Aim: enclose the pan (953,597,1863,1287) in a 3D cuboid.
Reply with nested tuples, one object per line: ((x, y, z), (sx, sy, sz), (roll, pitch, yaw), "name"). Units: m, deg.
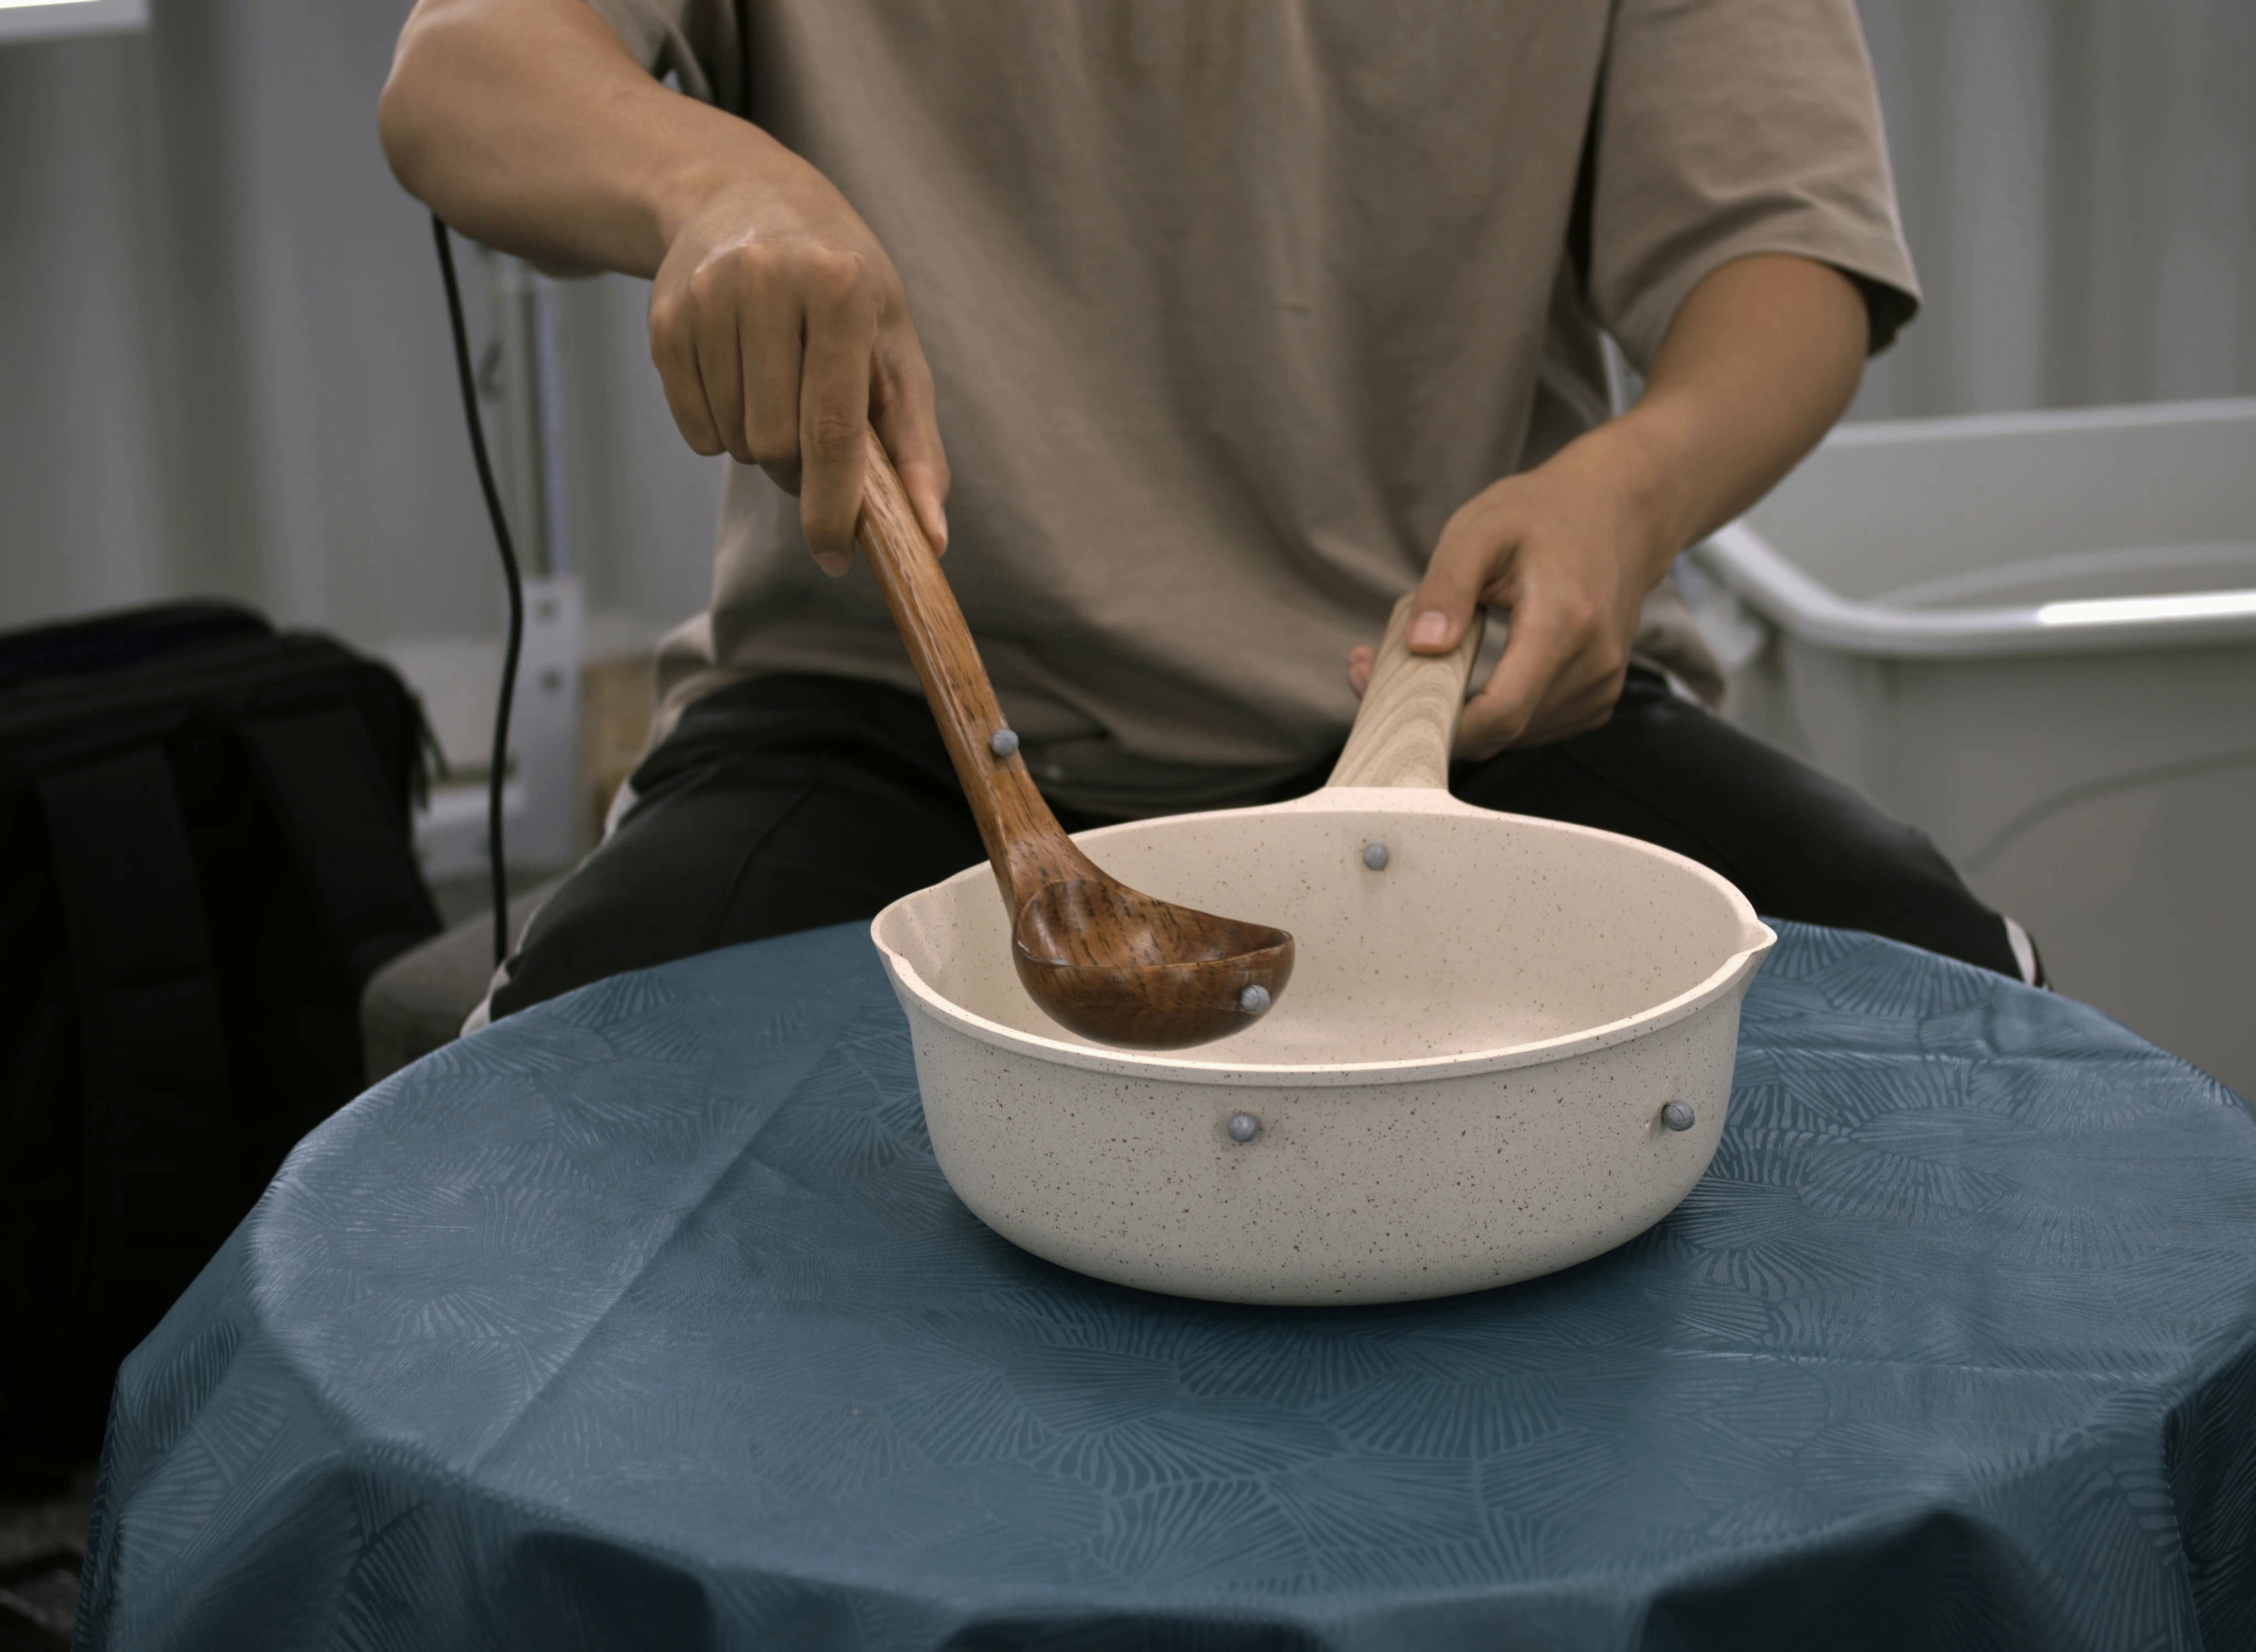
((0.095, 0.031, 1.620), (0.264, 0.102, 0.433), (-1, 16, 11), "pan")

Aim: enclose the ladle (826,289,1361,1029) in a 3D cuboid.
((-0.016, -0.057, 1.547), (0.080, 0.278, 0.077), (-3, -28, -43), "ladle")
